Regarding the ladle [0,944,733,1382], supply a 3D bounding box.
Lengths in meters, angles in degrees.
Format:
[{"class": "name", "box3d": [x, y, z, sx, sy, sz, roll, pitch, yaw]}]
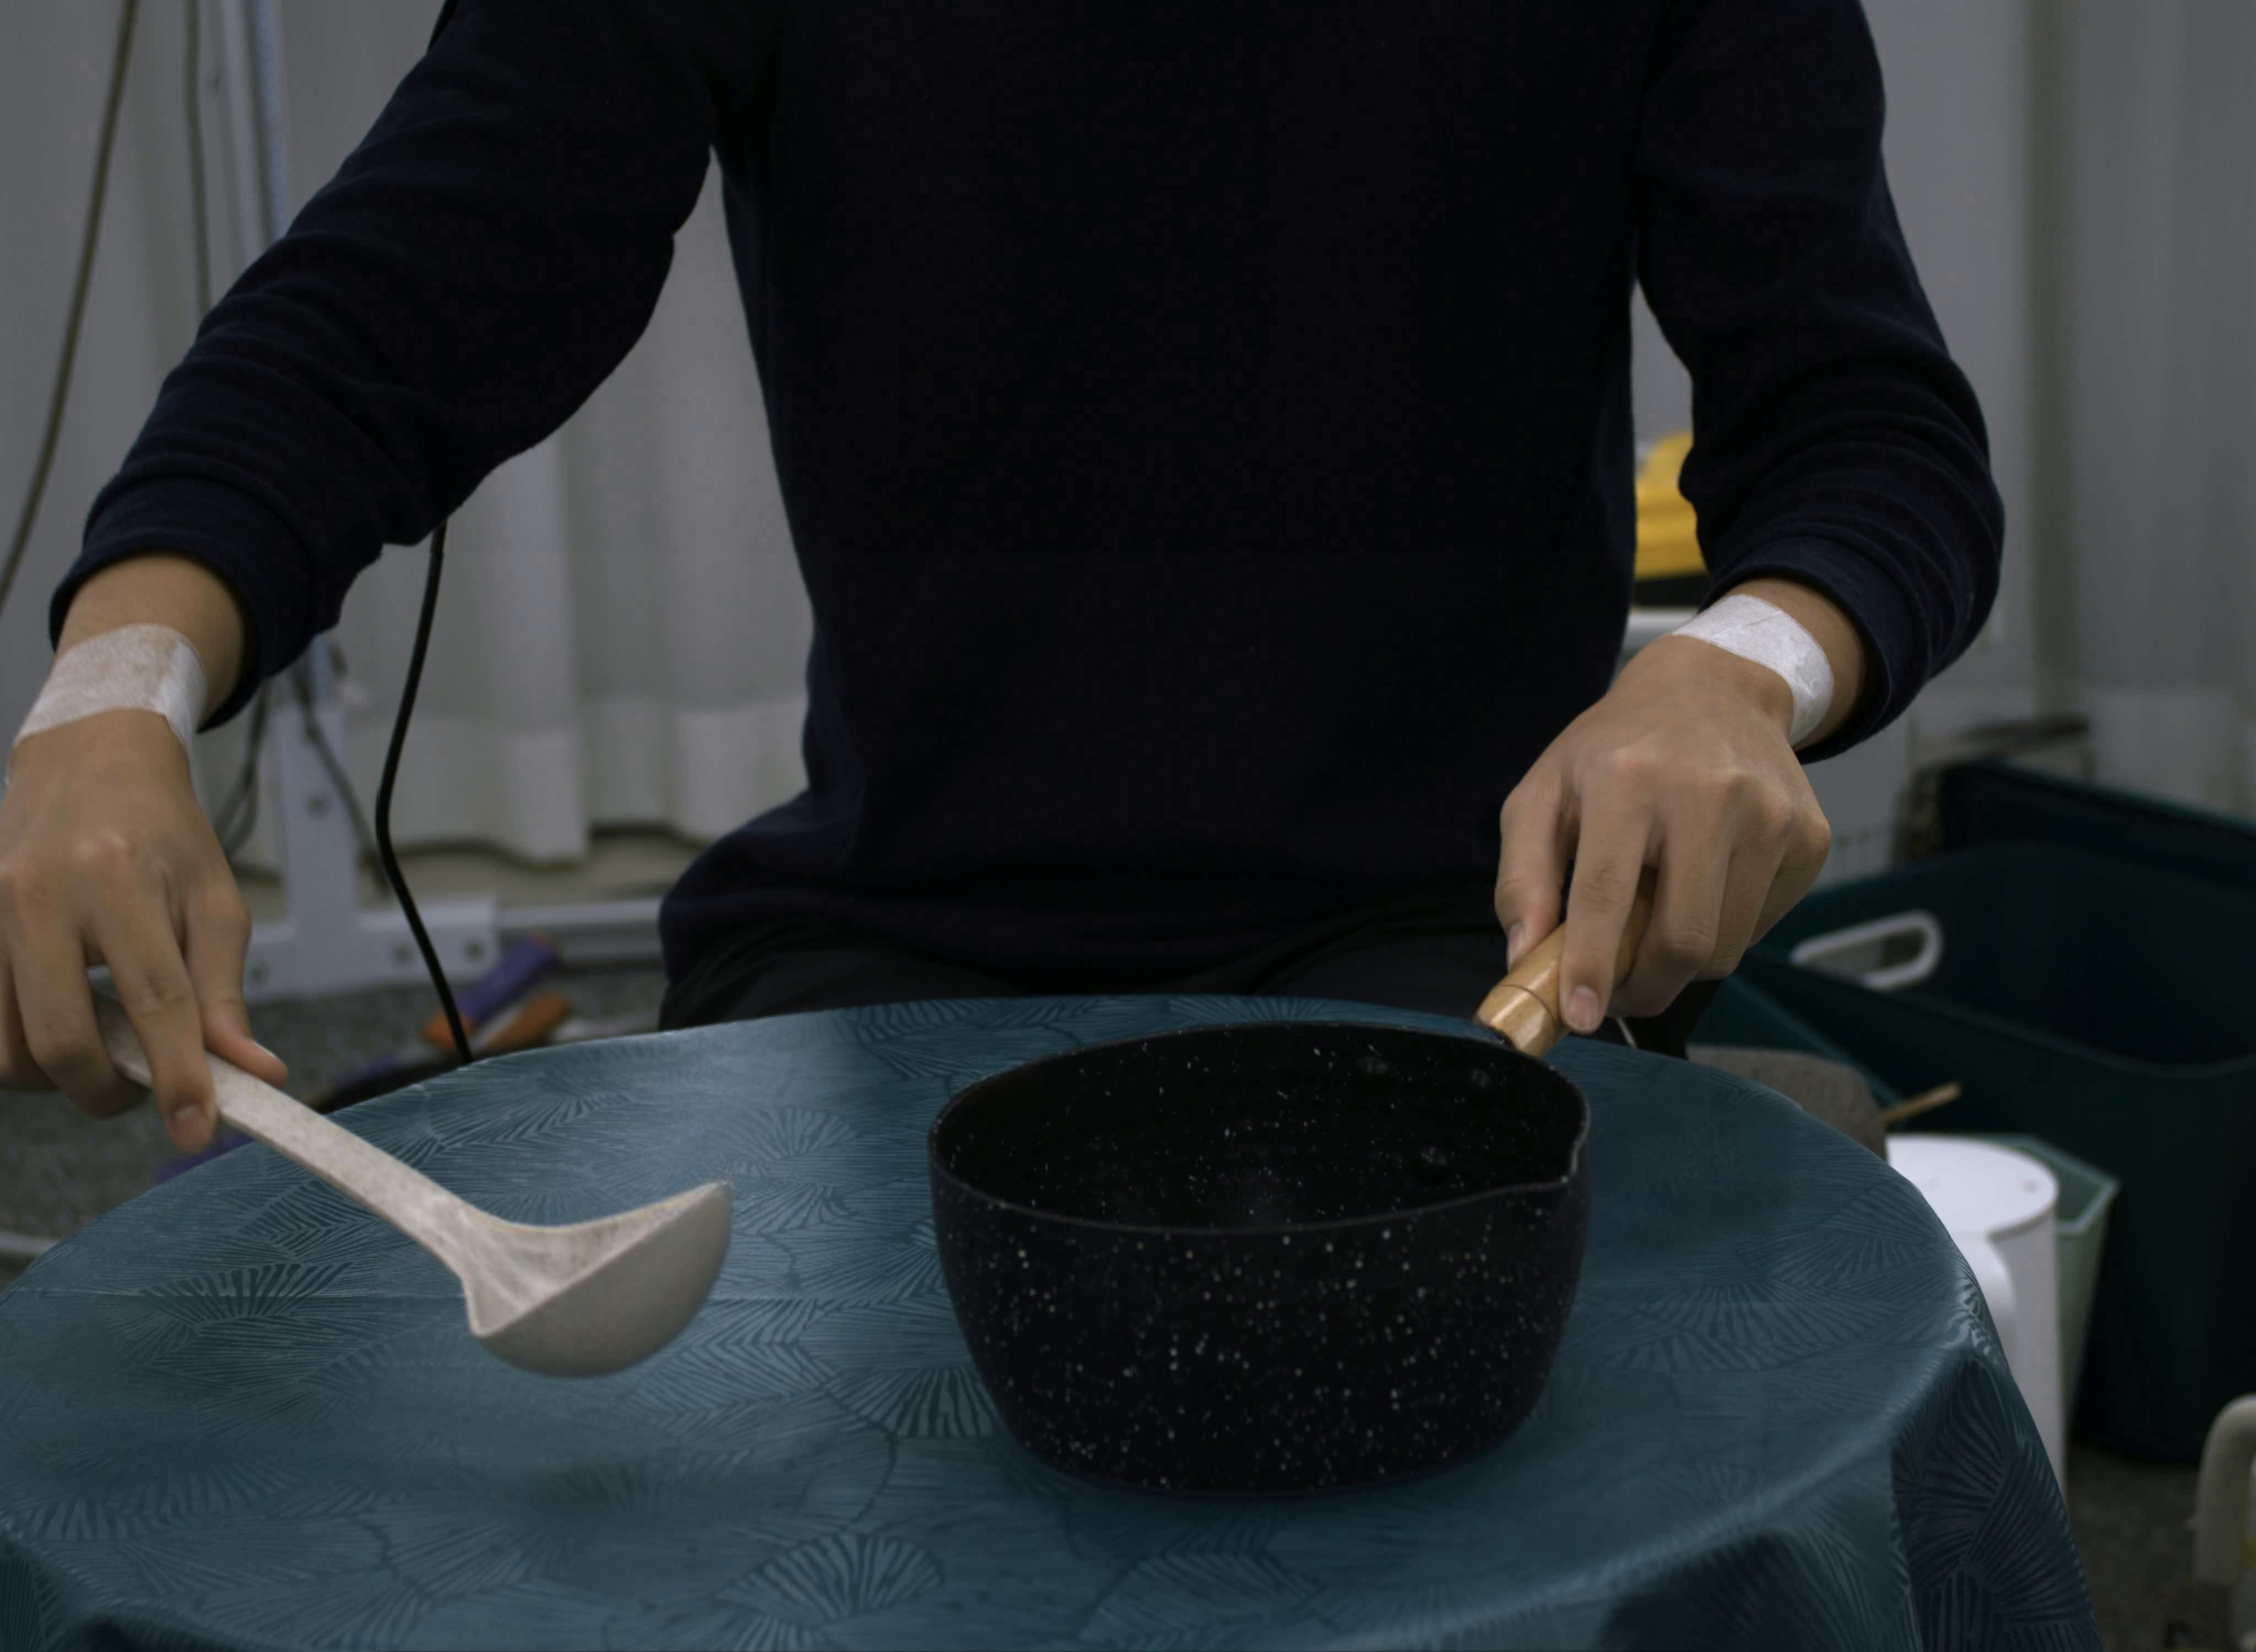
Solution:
[{"class": "ladle", "box3d": [-0.231, 0.071, 1.535, 0.276, 0.068, 0.090, 28, 41, 23]}]

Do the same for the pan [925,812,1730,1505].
[{"class": "pan", "box3d": [0.082, 0.091, 1.581, 0.208, 0.108, 0.343, 6, 19, 34]}]
